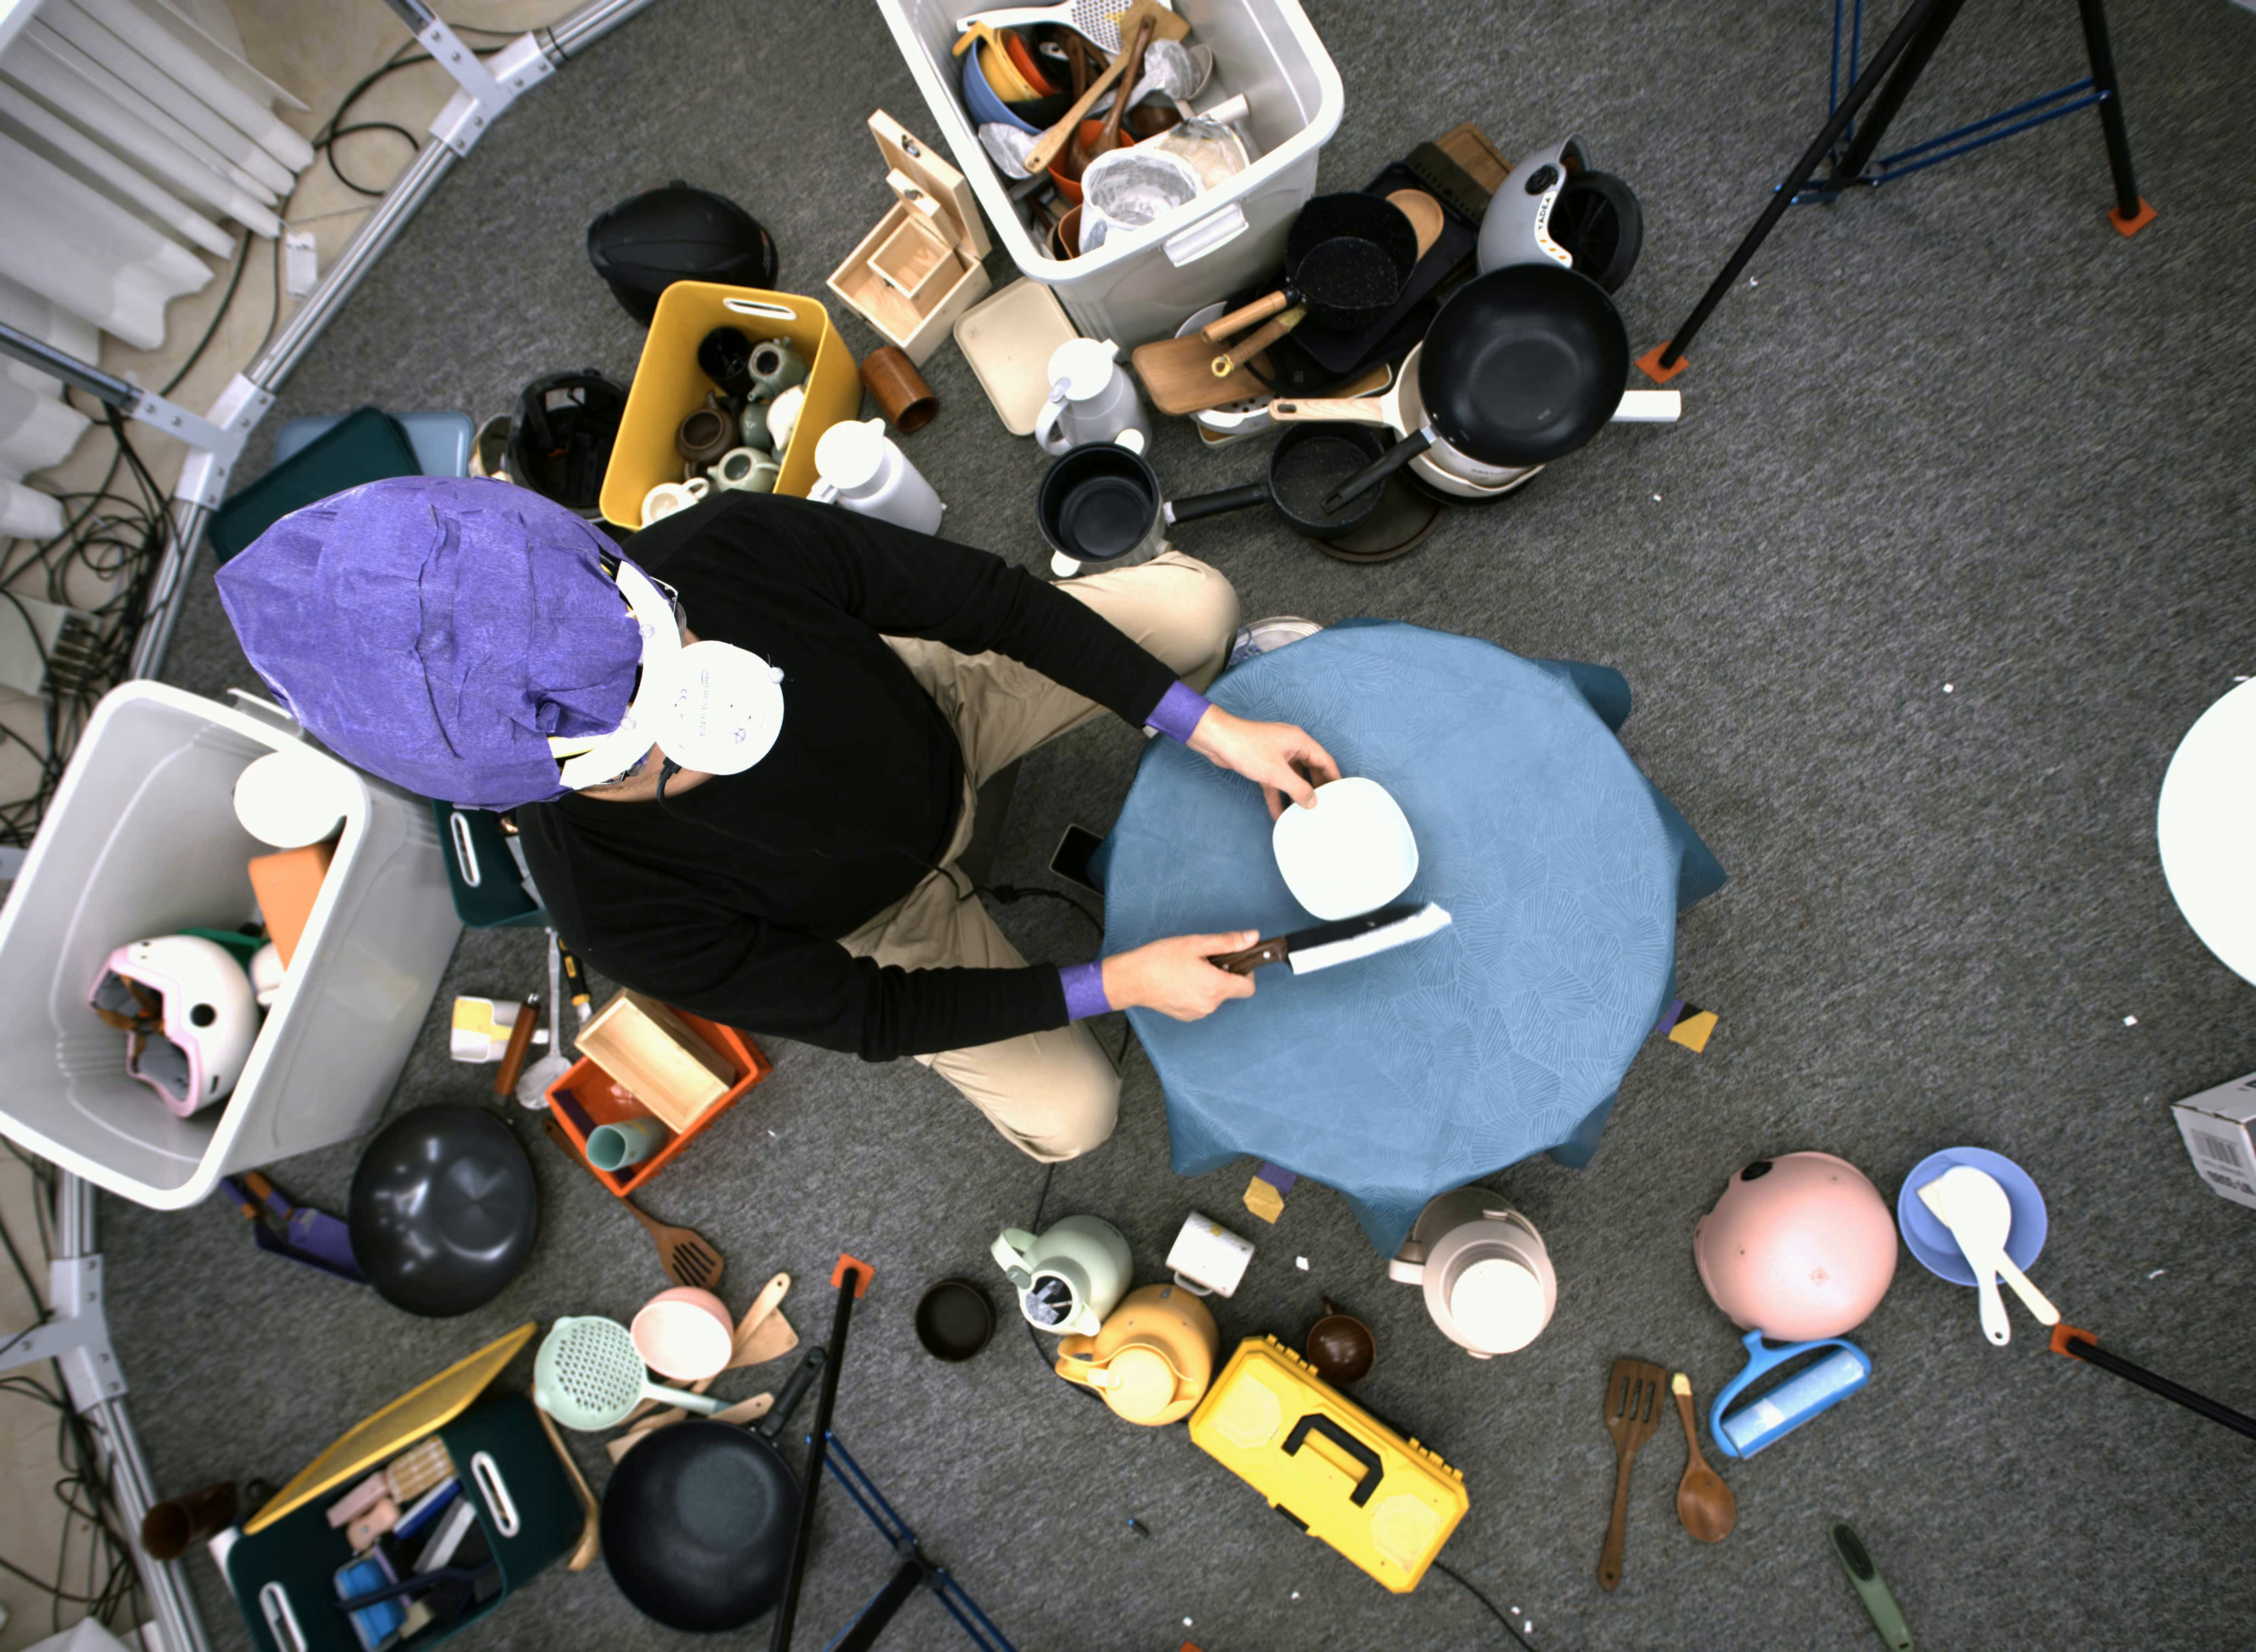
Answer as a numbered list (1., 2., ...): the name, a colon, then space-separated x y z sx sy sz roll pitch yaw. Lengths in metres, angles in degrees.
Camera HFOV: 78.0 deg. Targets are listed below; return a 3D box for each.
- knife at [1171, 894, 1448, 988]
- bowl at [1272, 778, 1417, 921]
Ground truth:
1. knife: 0.180 0.117 1.396 0.292 0.019 0.051 -17 111 18
2. bowl: 0.226 0.025 1.444 0.152 0.058 0.151 -1 86 9
